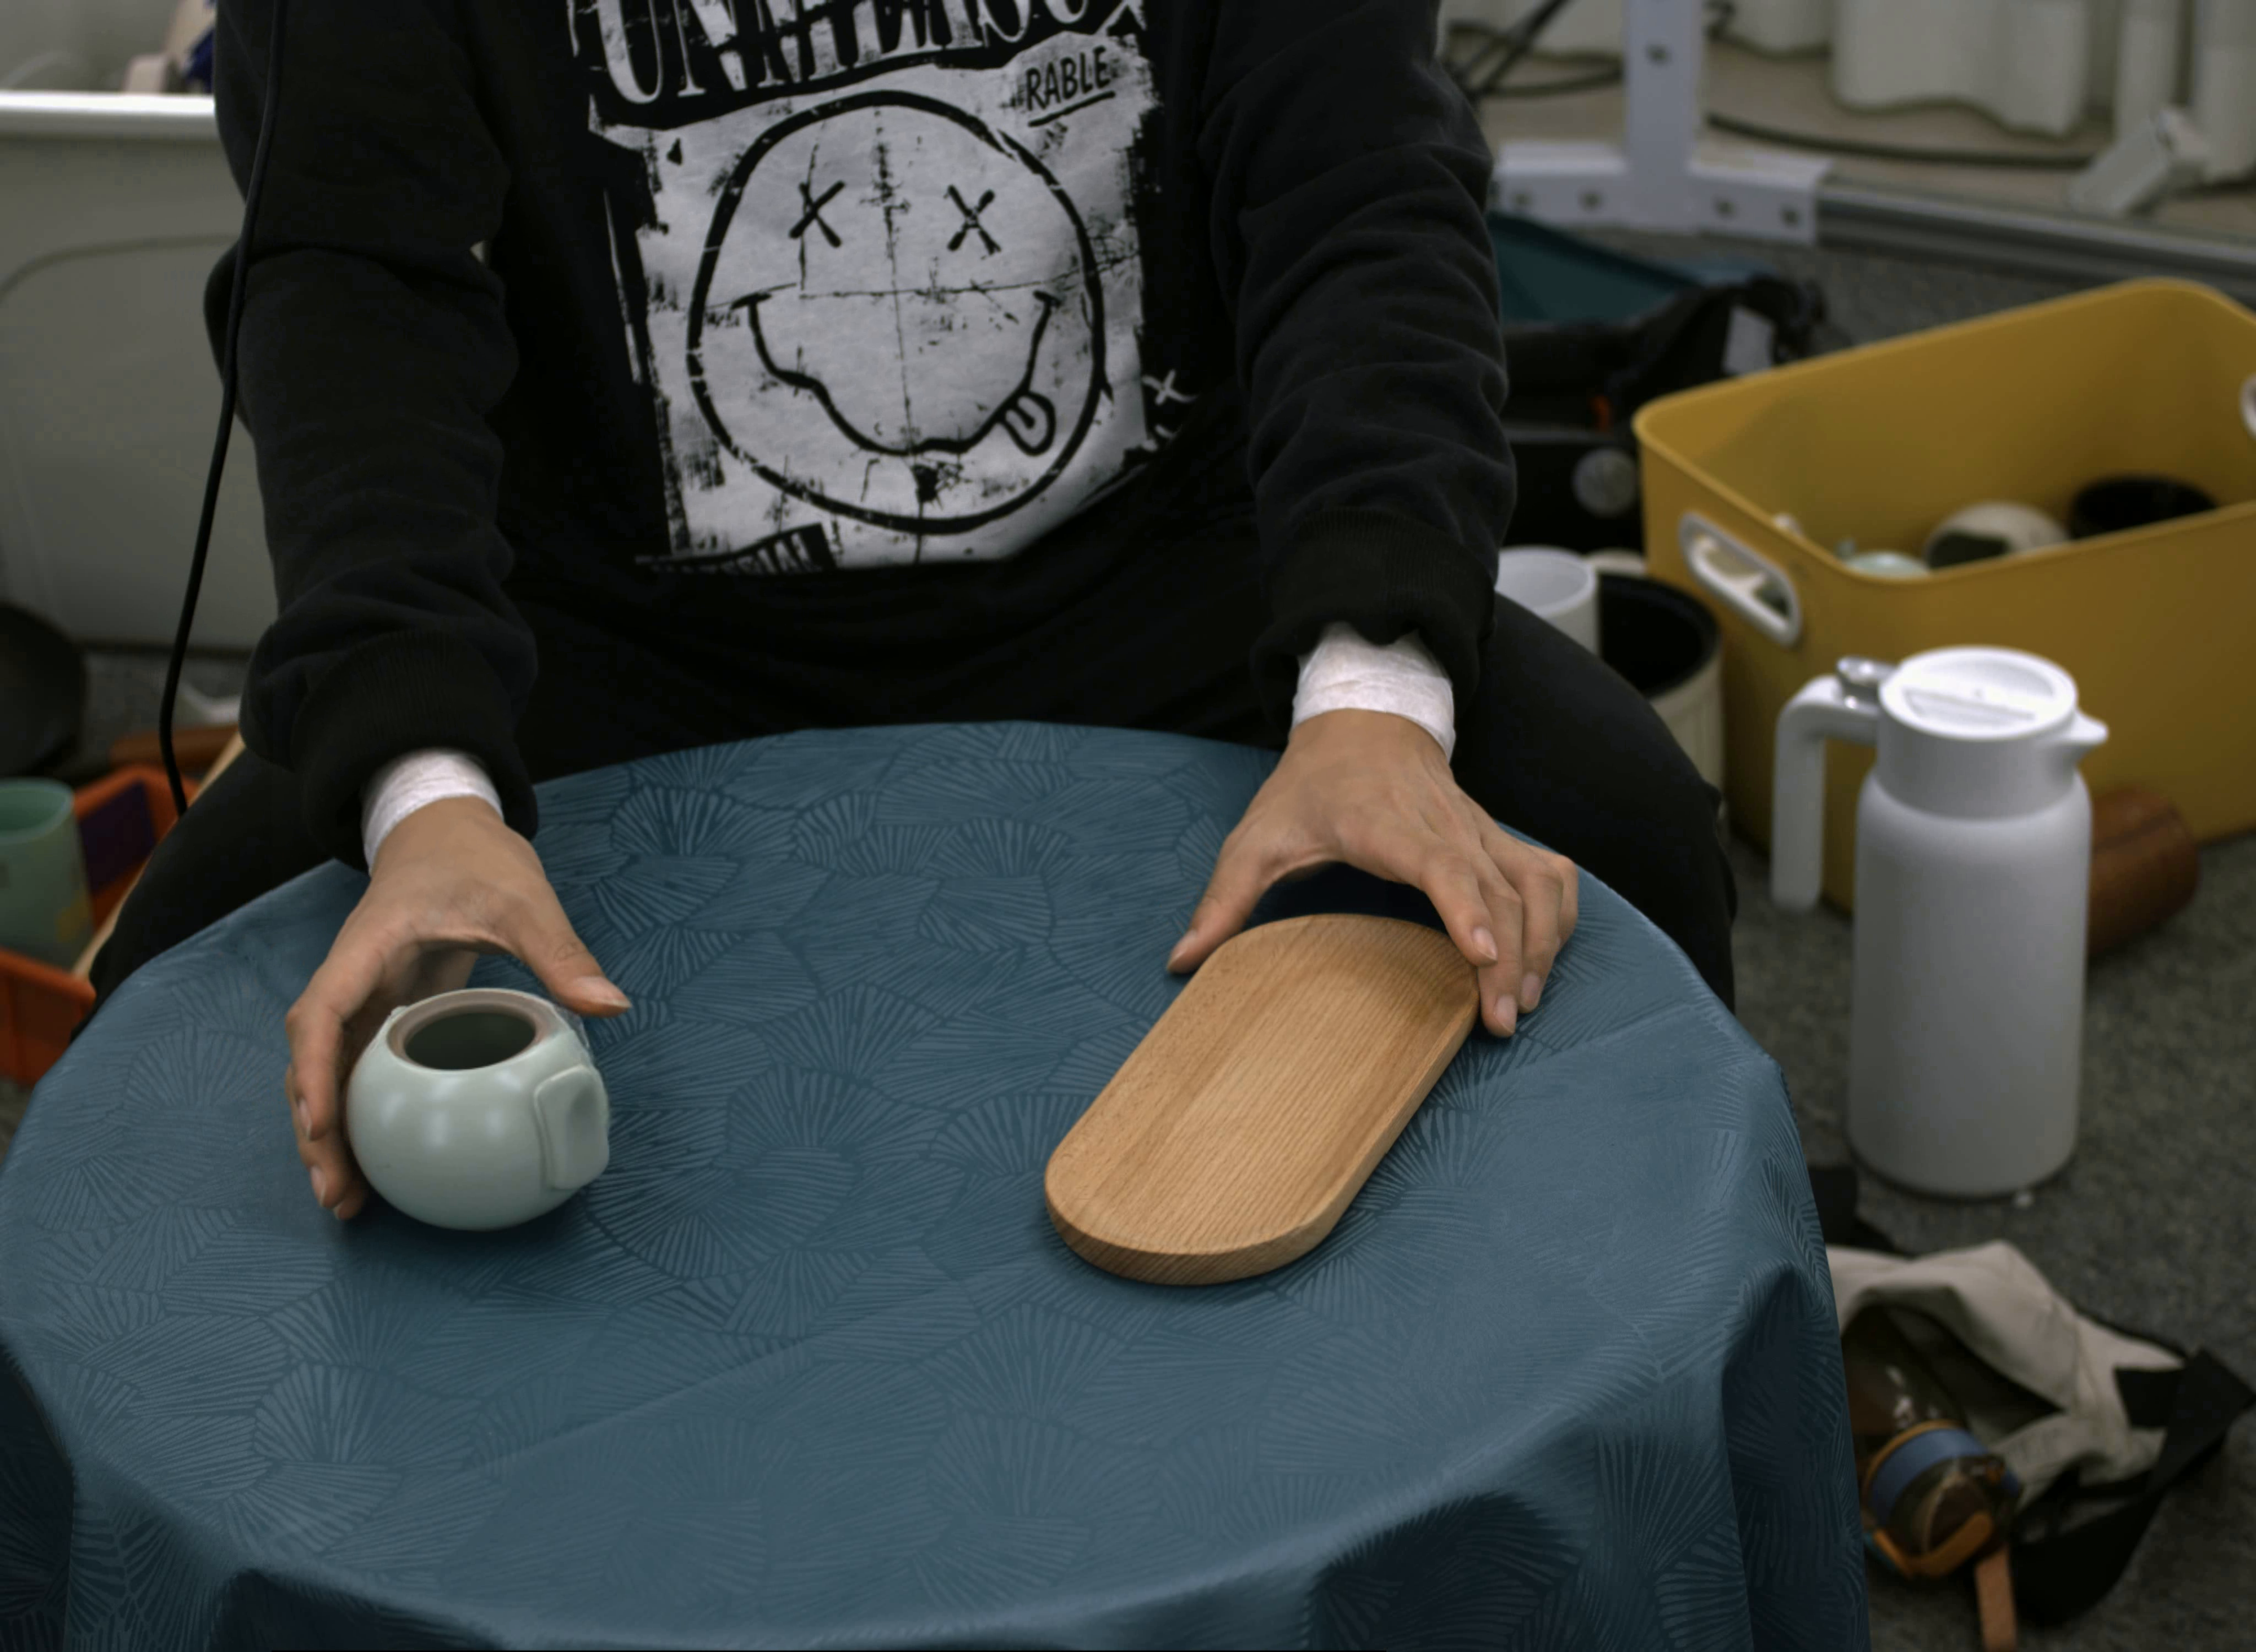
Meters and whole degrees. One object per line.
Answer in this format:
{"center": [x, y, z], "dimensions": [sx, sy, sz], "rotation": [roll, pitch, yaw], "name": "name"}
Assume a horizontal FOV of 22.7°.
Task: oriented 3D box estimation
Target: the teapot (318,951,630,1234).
{"center": [-0.214, 0.093, 1.857], "dimensions": [0.143, 0.074, 0.089], "rotation": [22, 35, 37], "name": "teapot"}

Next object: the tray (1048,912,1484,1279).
{"center": [0.048, 0.089, 1.900], "dimensions": [0.101, 0.020, 0.235], "rotation": [9, 28, 20], "name": "tray"}
